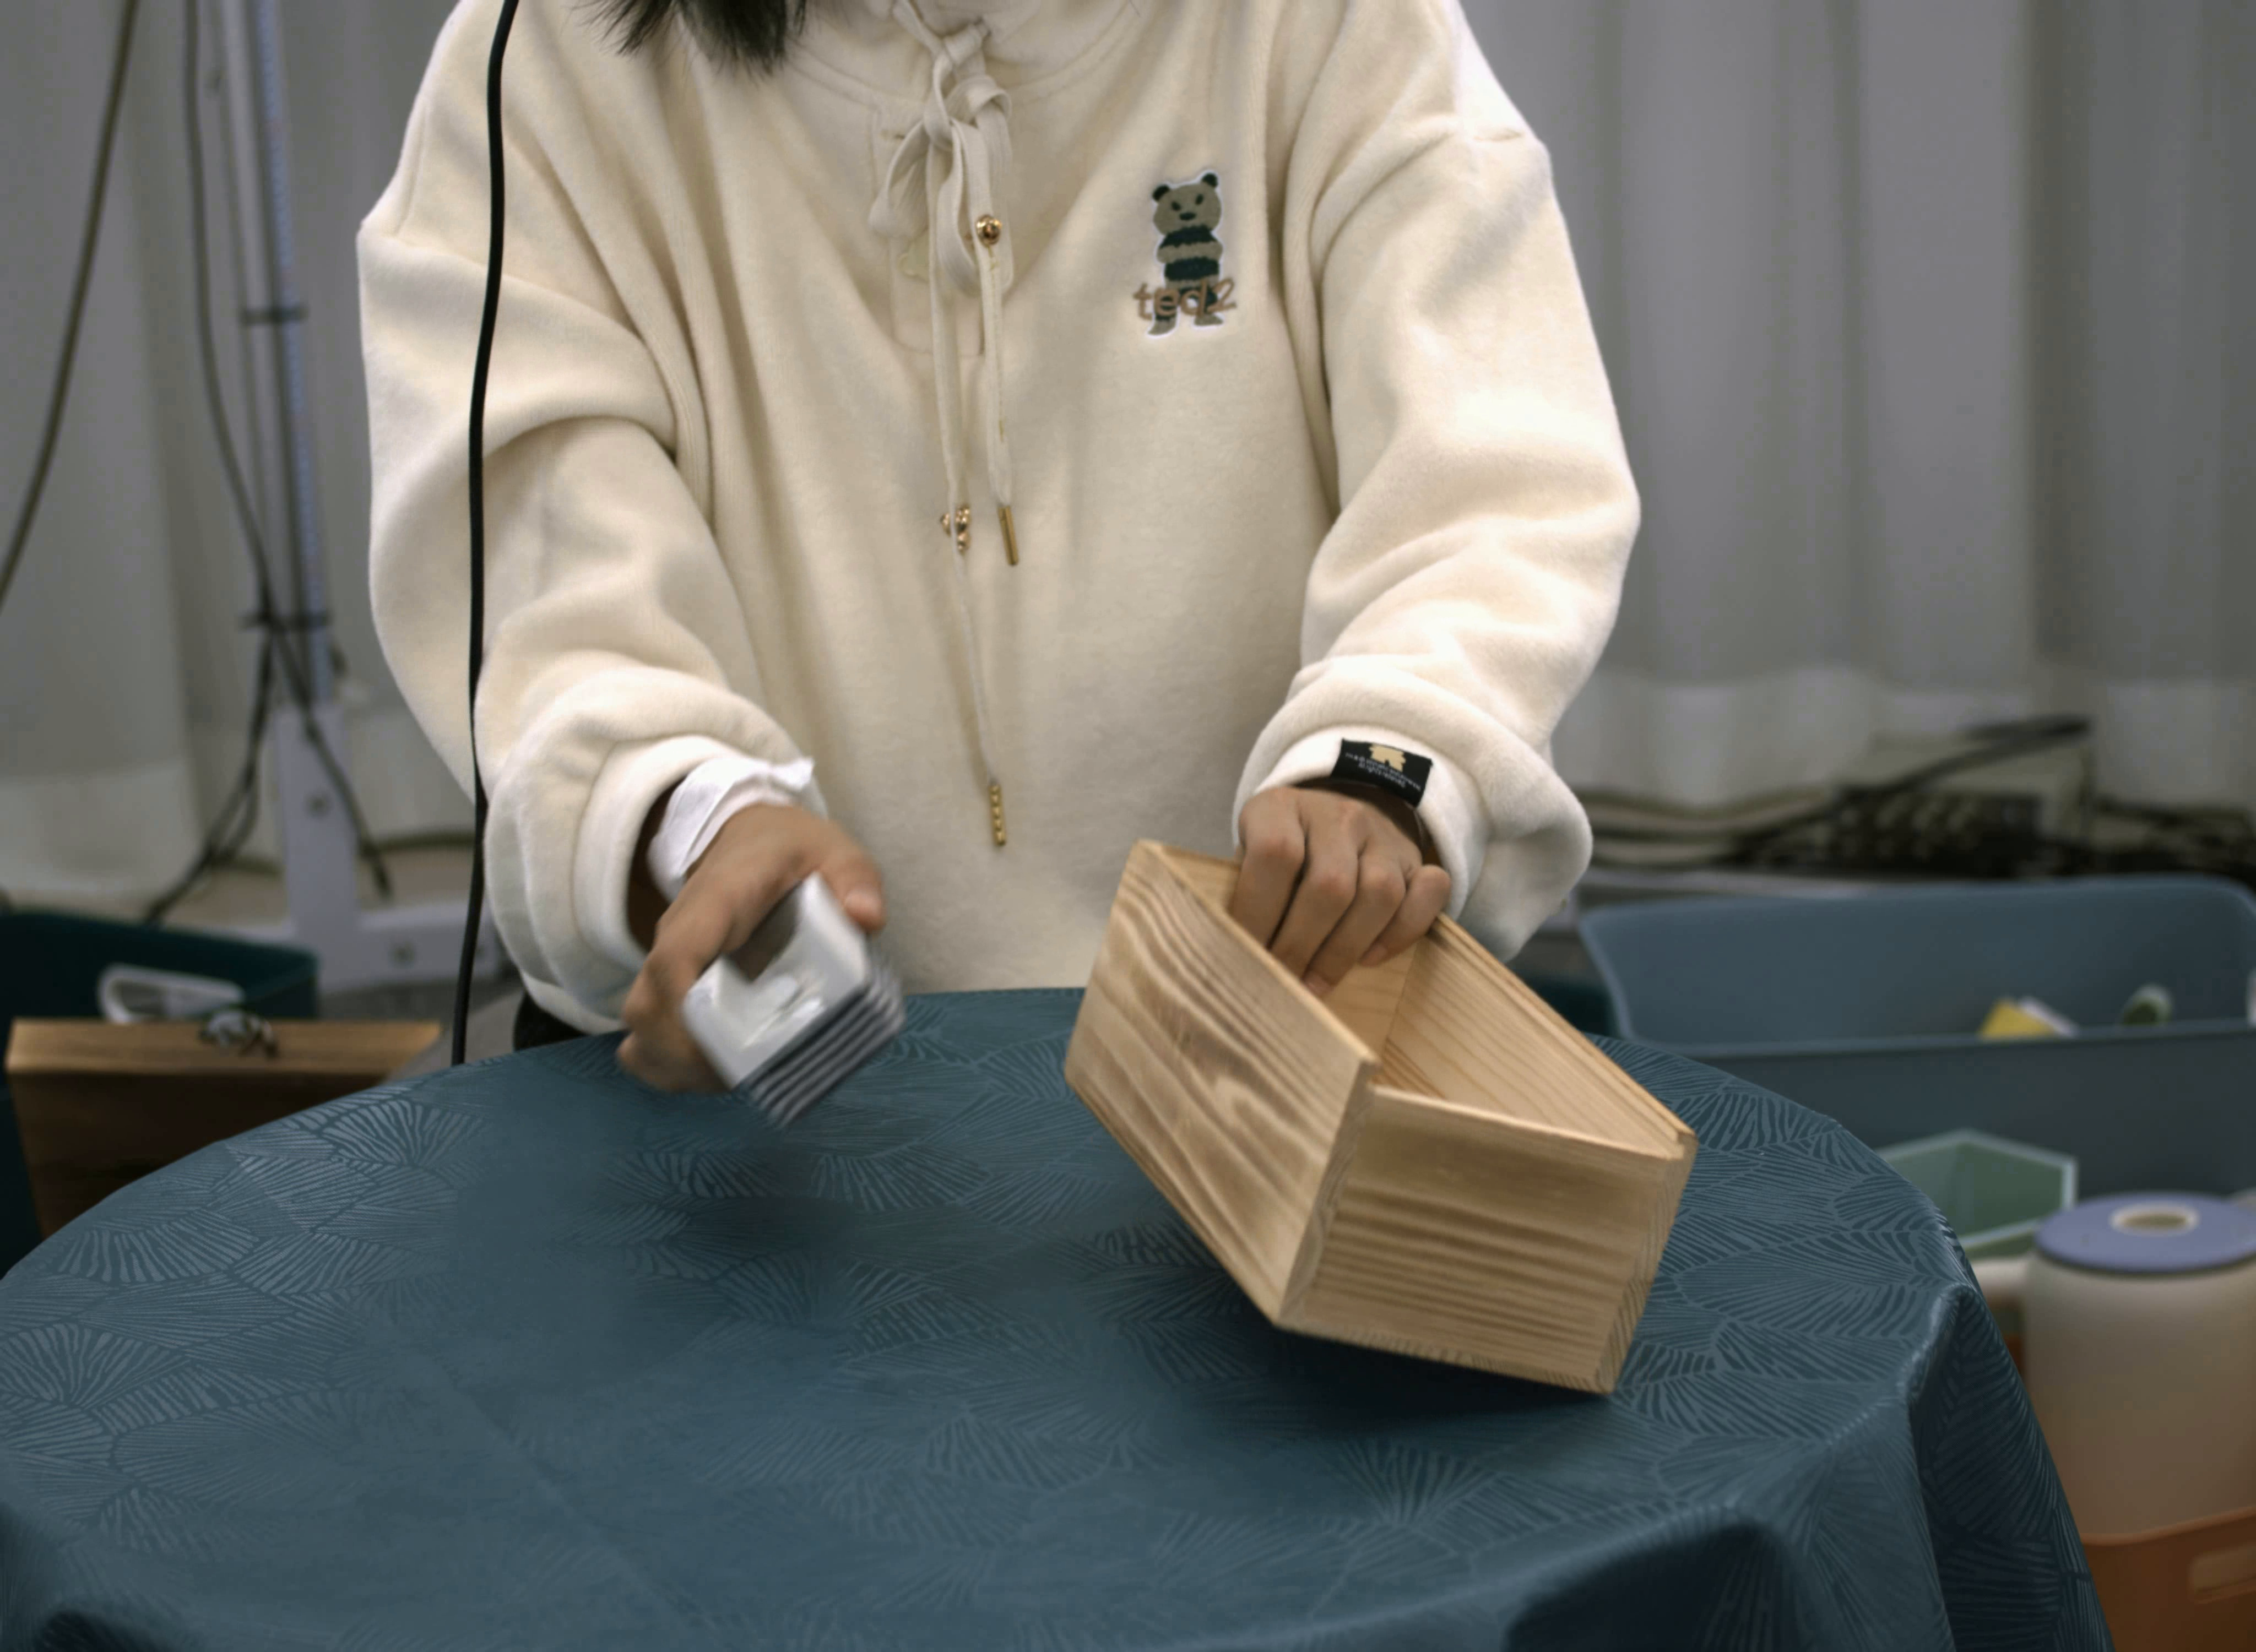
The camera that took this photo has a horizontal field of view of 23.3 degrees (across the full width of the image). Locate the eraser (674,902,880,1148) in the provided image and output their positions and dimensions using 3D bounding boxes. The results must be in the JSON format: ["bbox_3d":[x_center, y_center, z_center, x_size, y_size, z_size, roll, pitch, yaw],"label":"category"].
[{"bbox_3d":[-0.106,0.059,1.652,0.050,0.046,0.134,-39,7,-1],"label":"eraser"}]

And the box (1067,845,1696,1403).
[{"bbox_3d":[0.068,0.083,1.590,0.107,0.080,0.213,12,12,-20],"label":"box"}]
